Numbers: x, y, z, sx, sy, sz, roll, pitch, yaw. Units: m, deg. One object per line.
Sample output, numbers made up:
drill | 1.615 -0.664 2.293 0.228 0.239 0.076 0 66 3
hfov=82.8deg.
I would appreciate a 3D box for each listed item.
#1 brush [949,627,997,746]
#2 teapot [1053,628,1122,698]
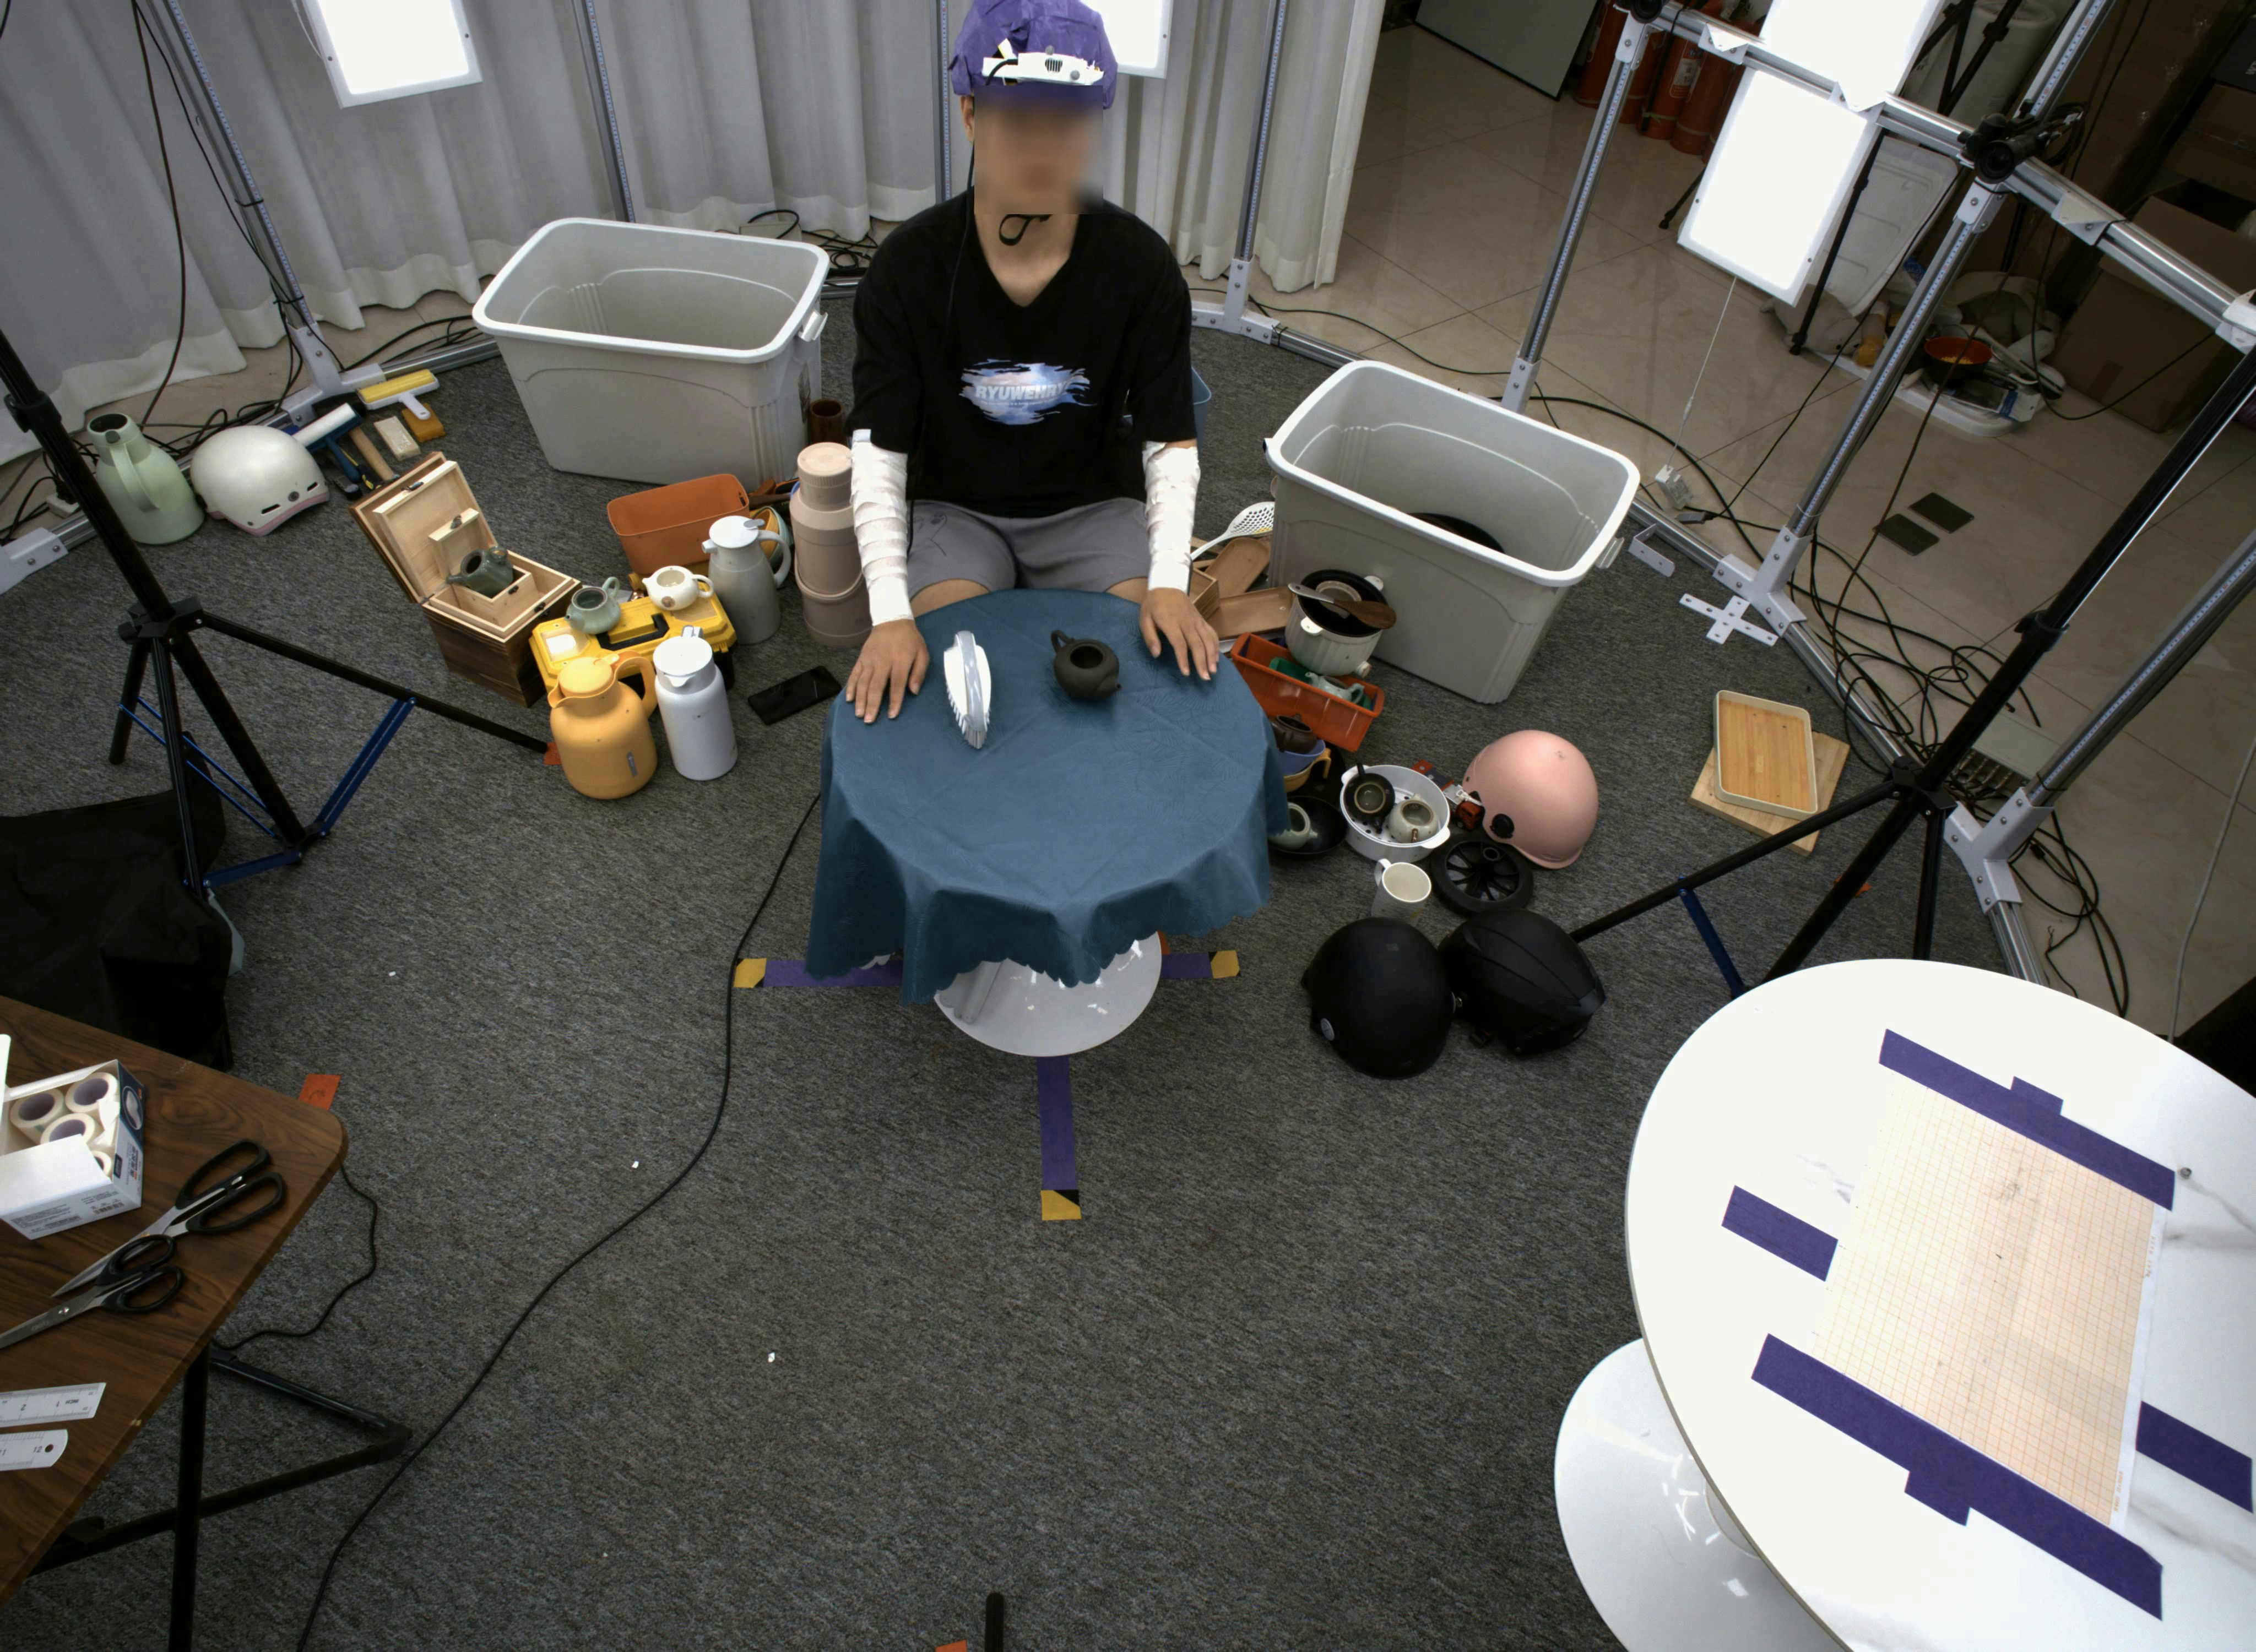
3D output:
brush | -0.213 -0.201 1.775 0.061 0.092 0.180 -9 52 -5
teapot | -0.060 -0.227 1.823 0.093 0.063 0.157 -29 58 -25
